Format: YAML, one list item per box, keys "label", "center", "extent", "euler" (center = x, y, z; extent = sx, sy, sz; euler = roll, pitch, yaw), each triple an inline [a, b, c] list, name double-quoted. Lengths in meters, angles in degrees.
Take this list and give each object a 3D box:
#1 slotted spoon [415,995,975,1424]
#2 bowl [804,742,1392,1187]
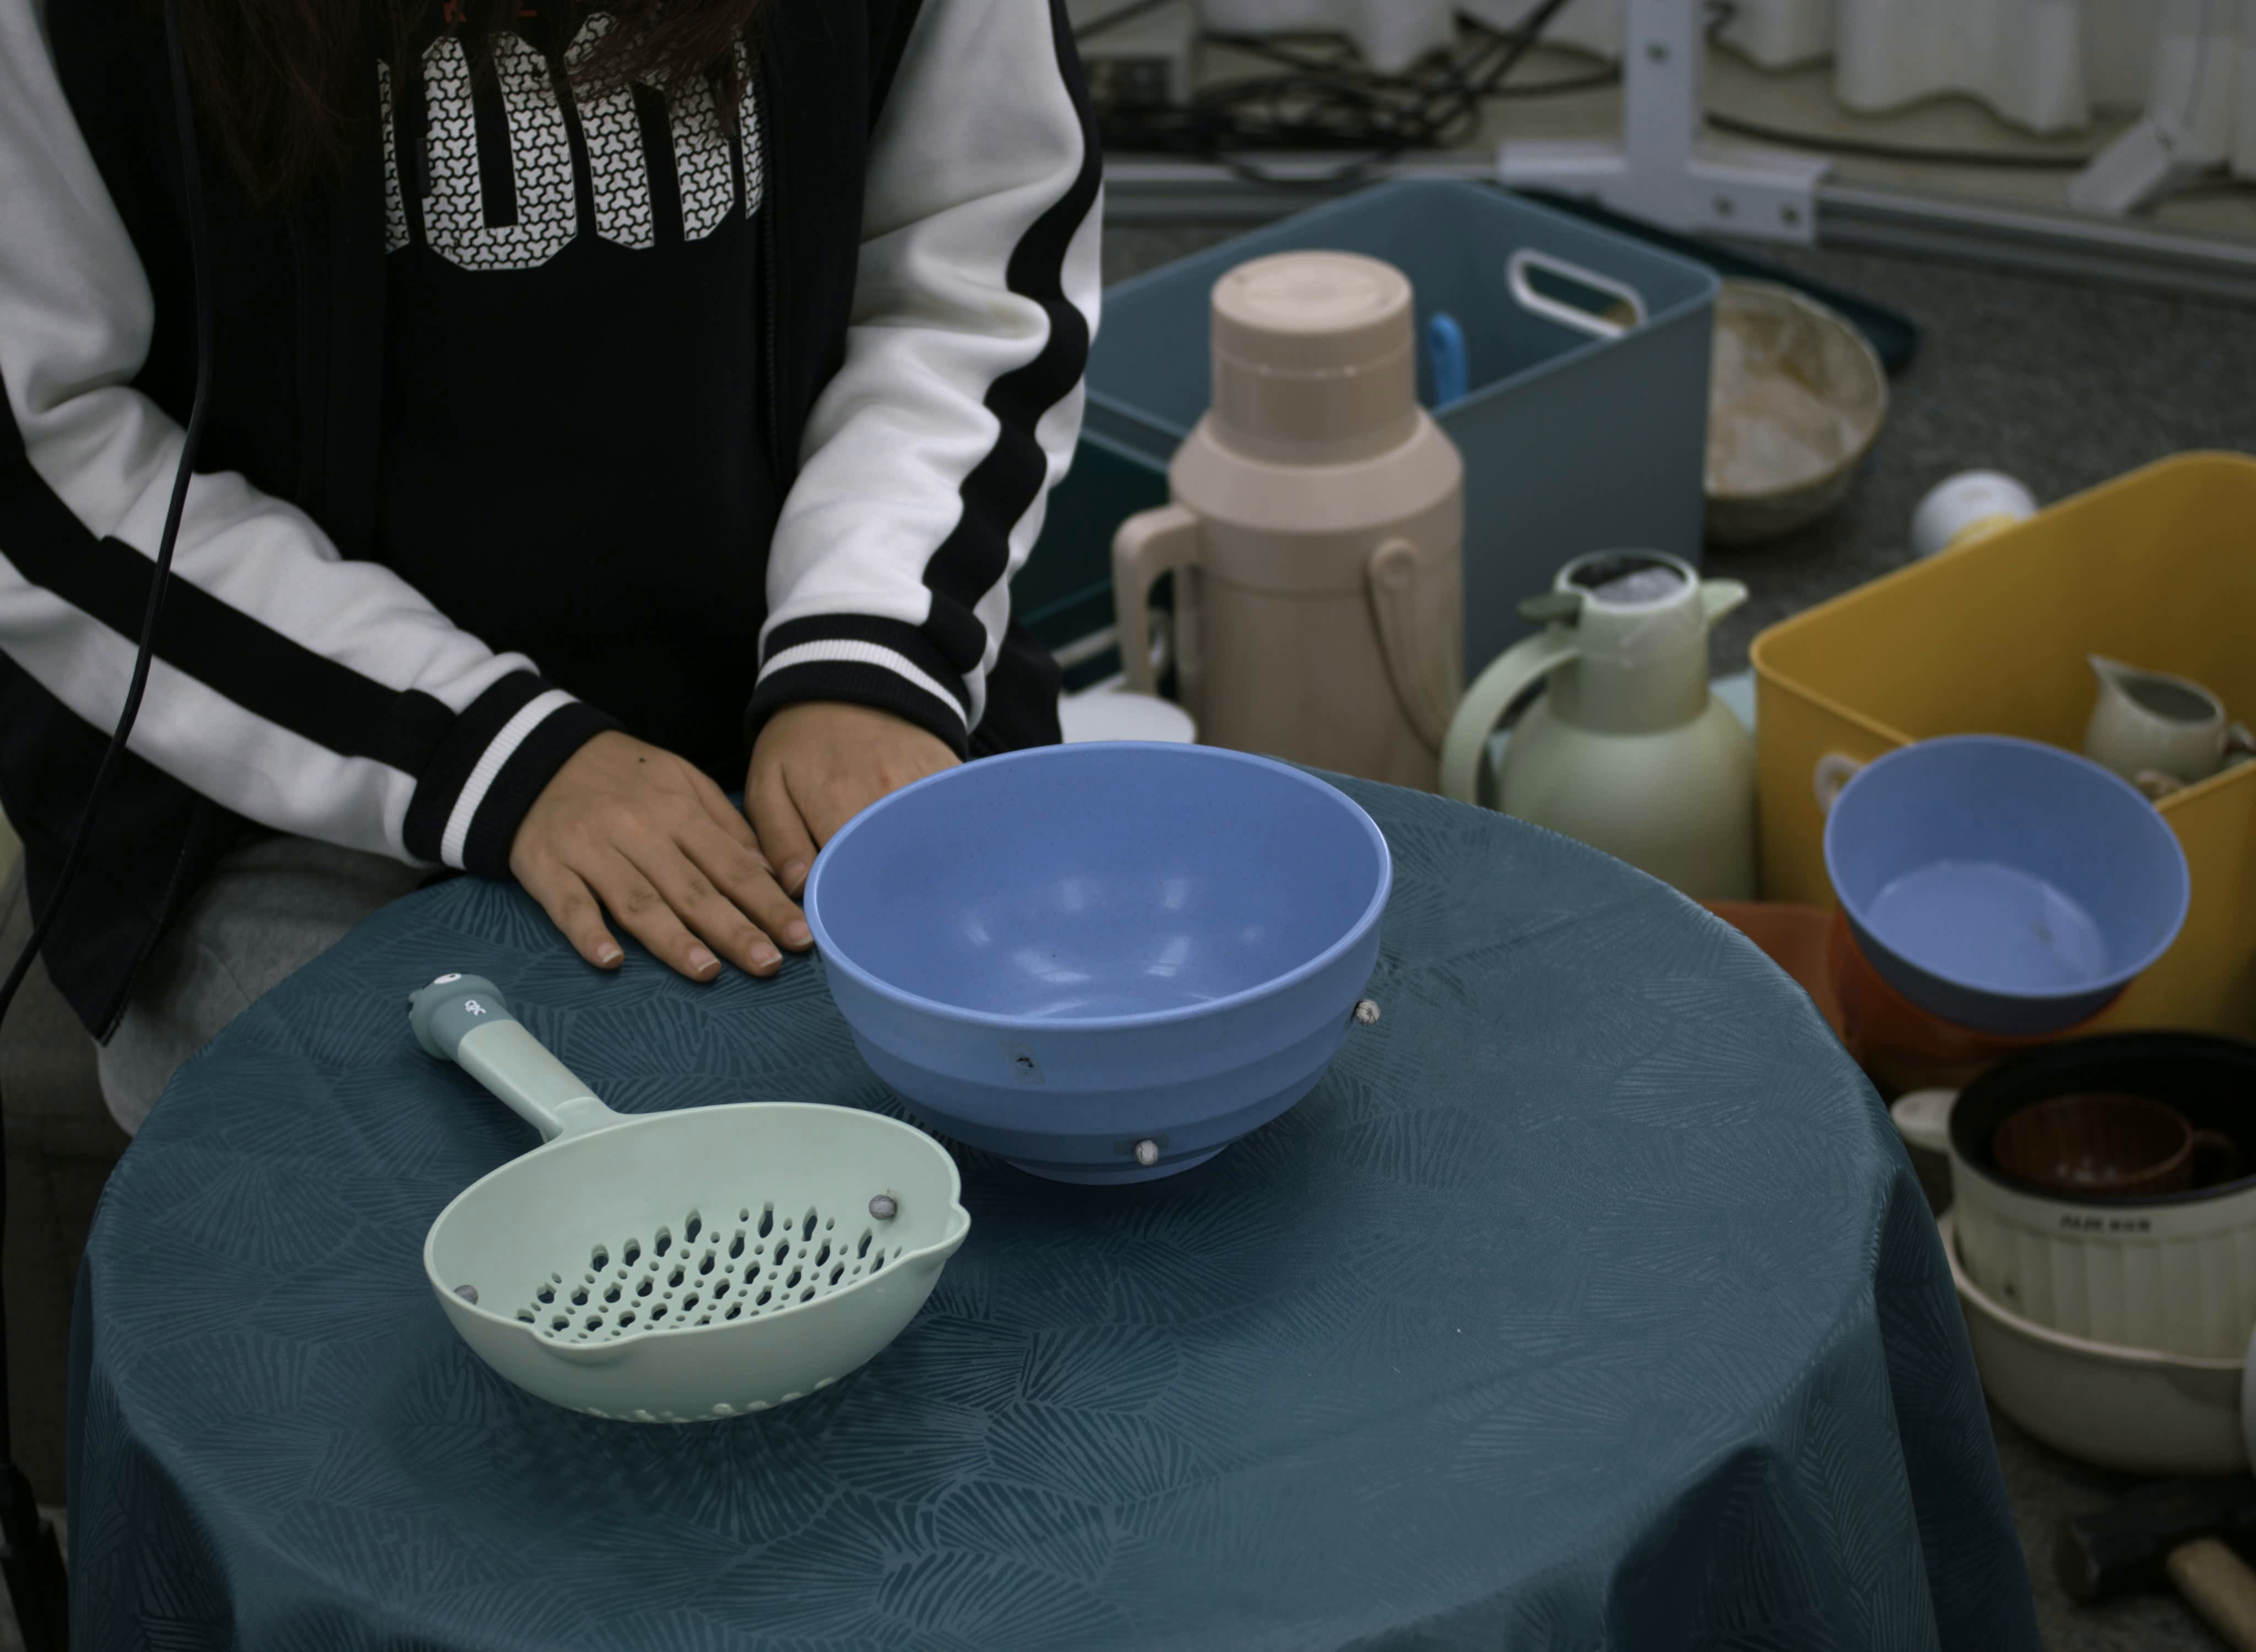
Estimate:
- label: "slotted spoon"
  center: [-0.174, 0.109, 1.841]
  extent: [0.170, 0.074, 0.361]
  euler: [-13, 27, -22]
- label: "bowl"
  center: [-0.008, 0.057, 1.884]
  extent: [0.195, 0.094, 0.199]
  euler: [-2, 27, 2]
